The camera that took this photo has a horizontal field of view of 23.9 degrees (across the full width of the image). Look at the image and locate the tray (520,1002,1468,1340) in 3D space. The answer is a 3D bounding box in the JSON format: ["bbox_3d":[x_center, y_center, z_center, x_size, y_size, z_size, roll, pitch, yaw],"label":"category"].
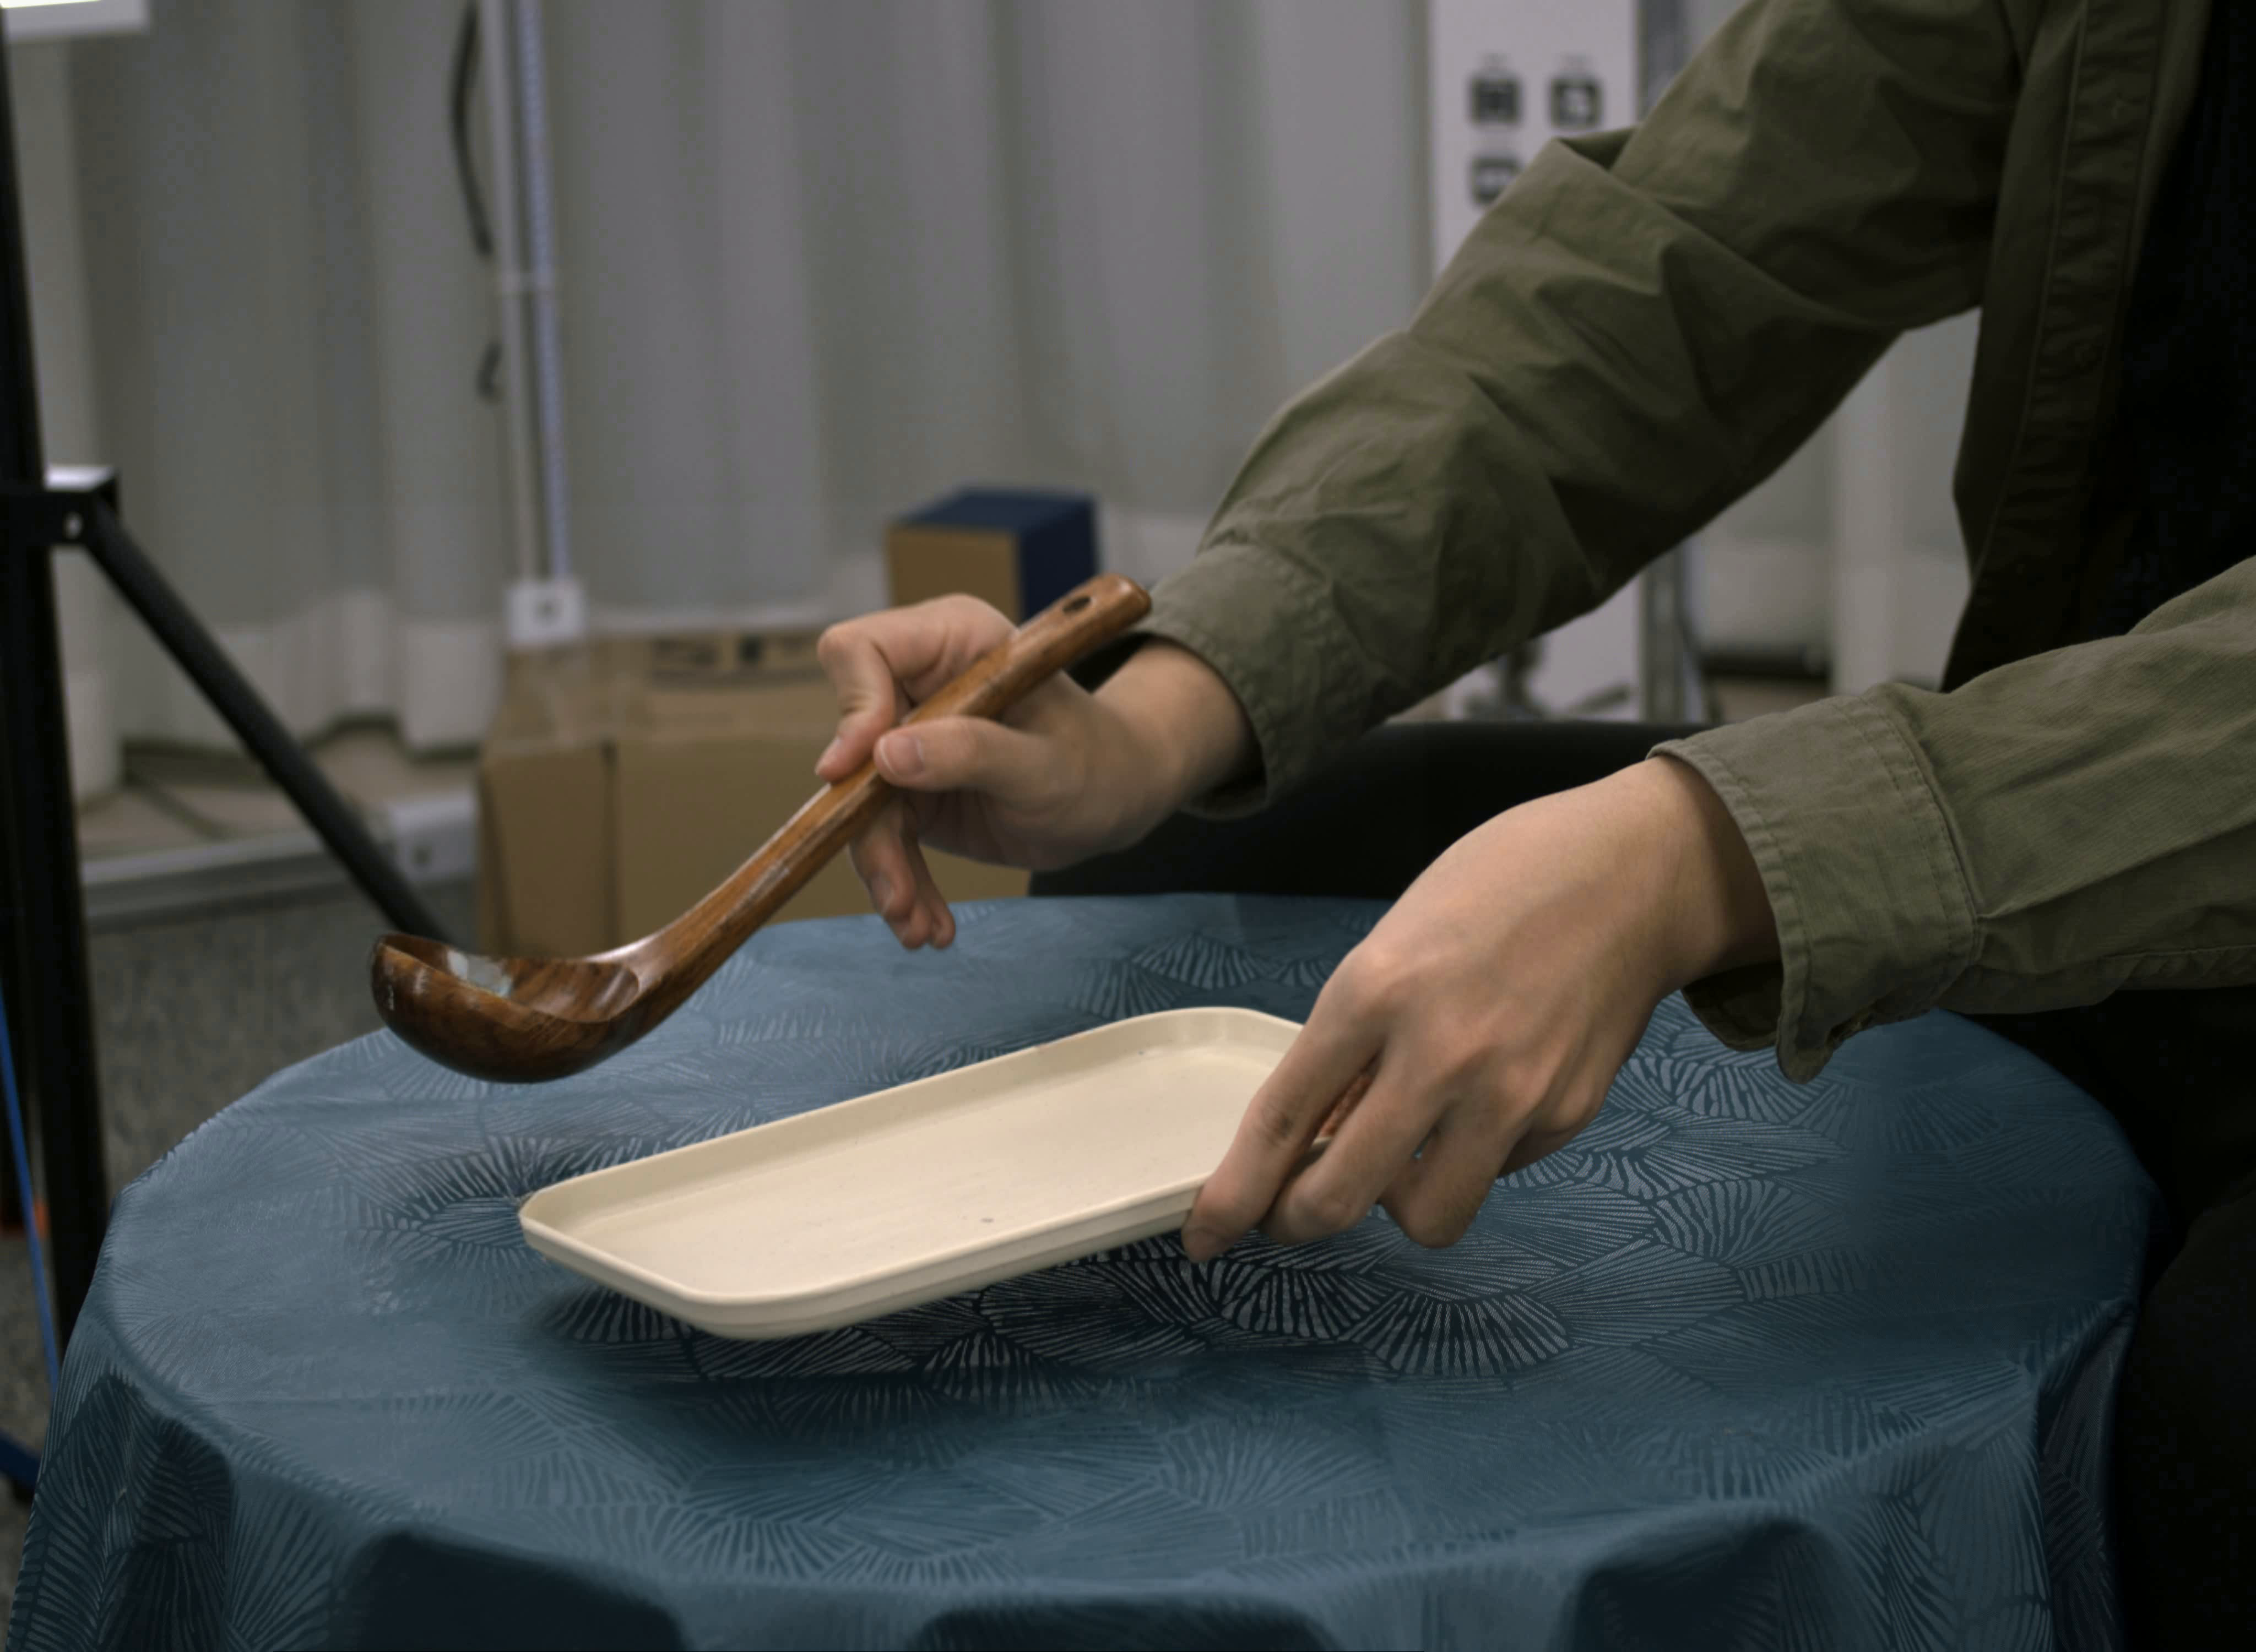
[{"bbox_3d":[-0.037,0.095,1.478,0.235,0.017,0.175,-15,14,-25],"label":"tray"}]

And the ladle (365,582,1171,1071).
[{"bbox_3d":[-0.110,-0.015,1.622,0.272,0.075,0.084,-38,35,-13],"label":"ladle"}]
